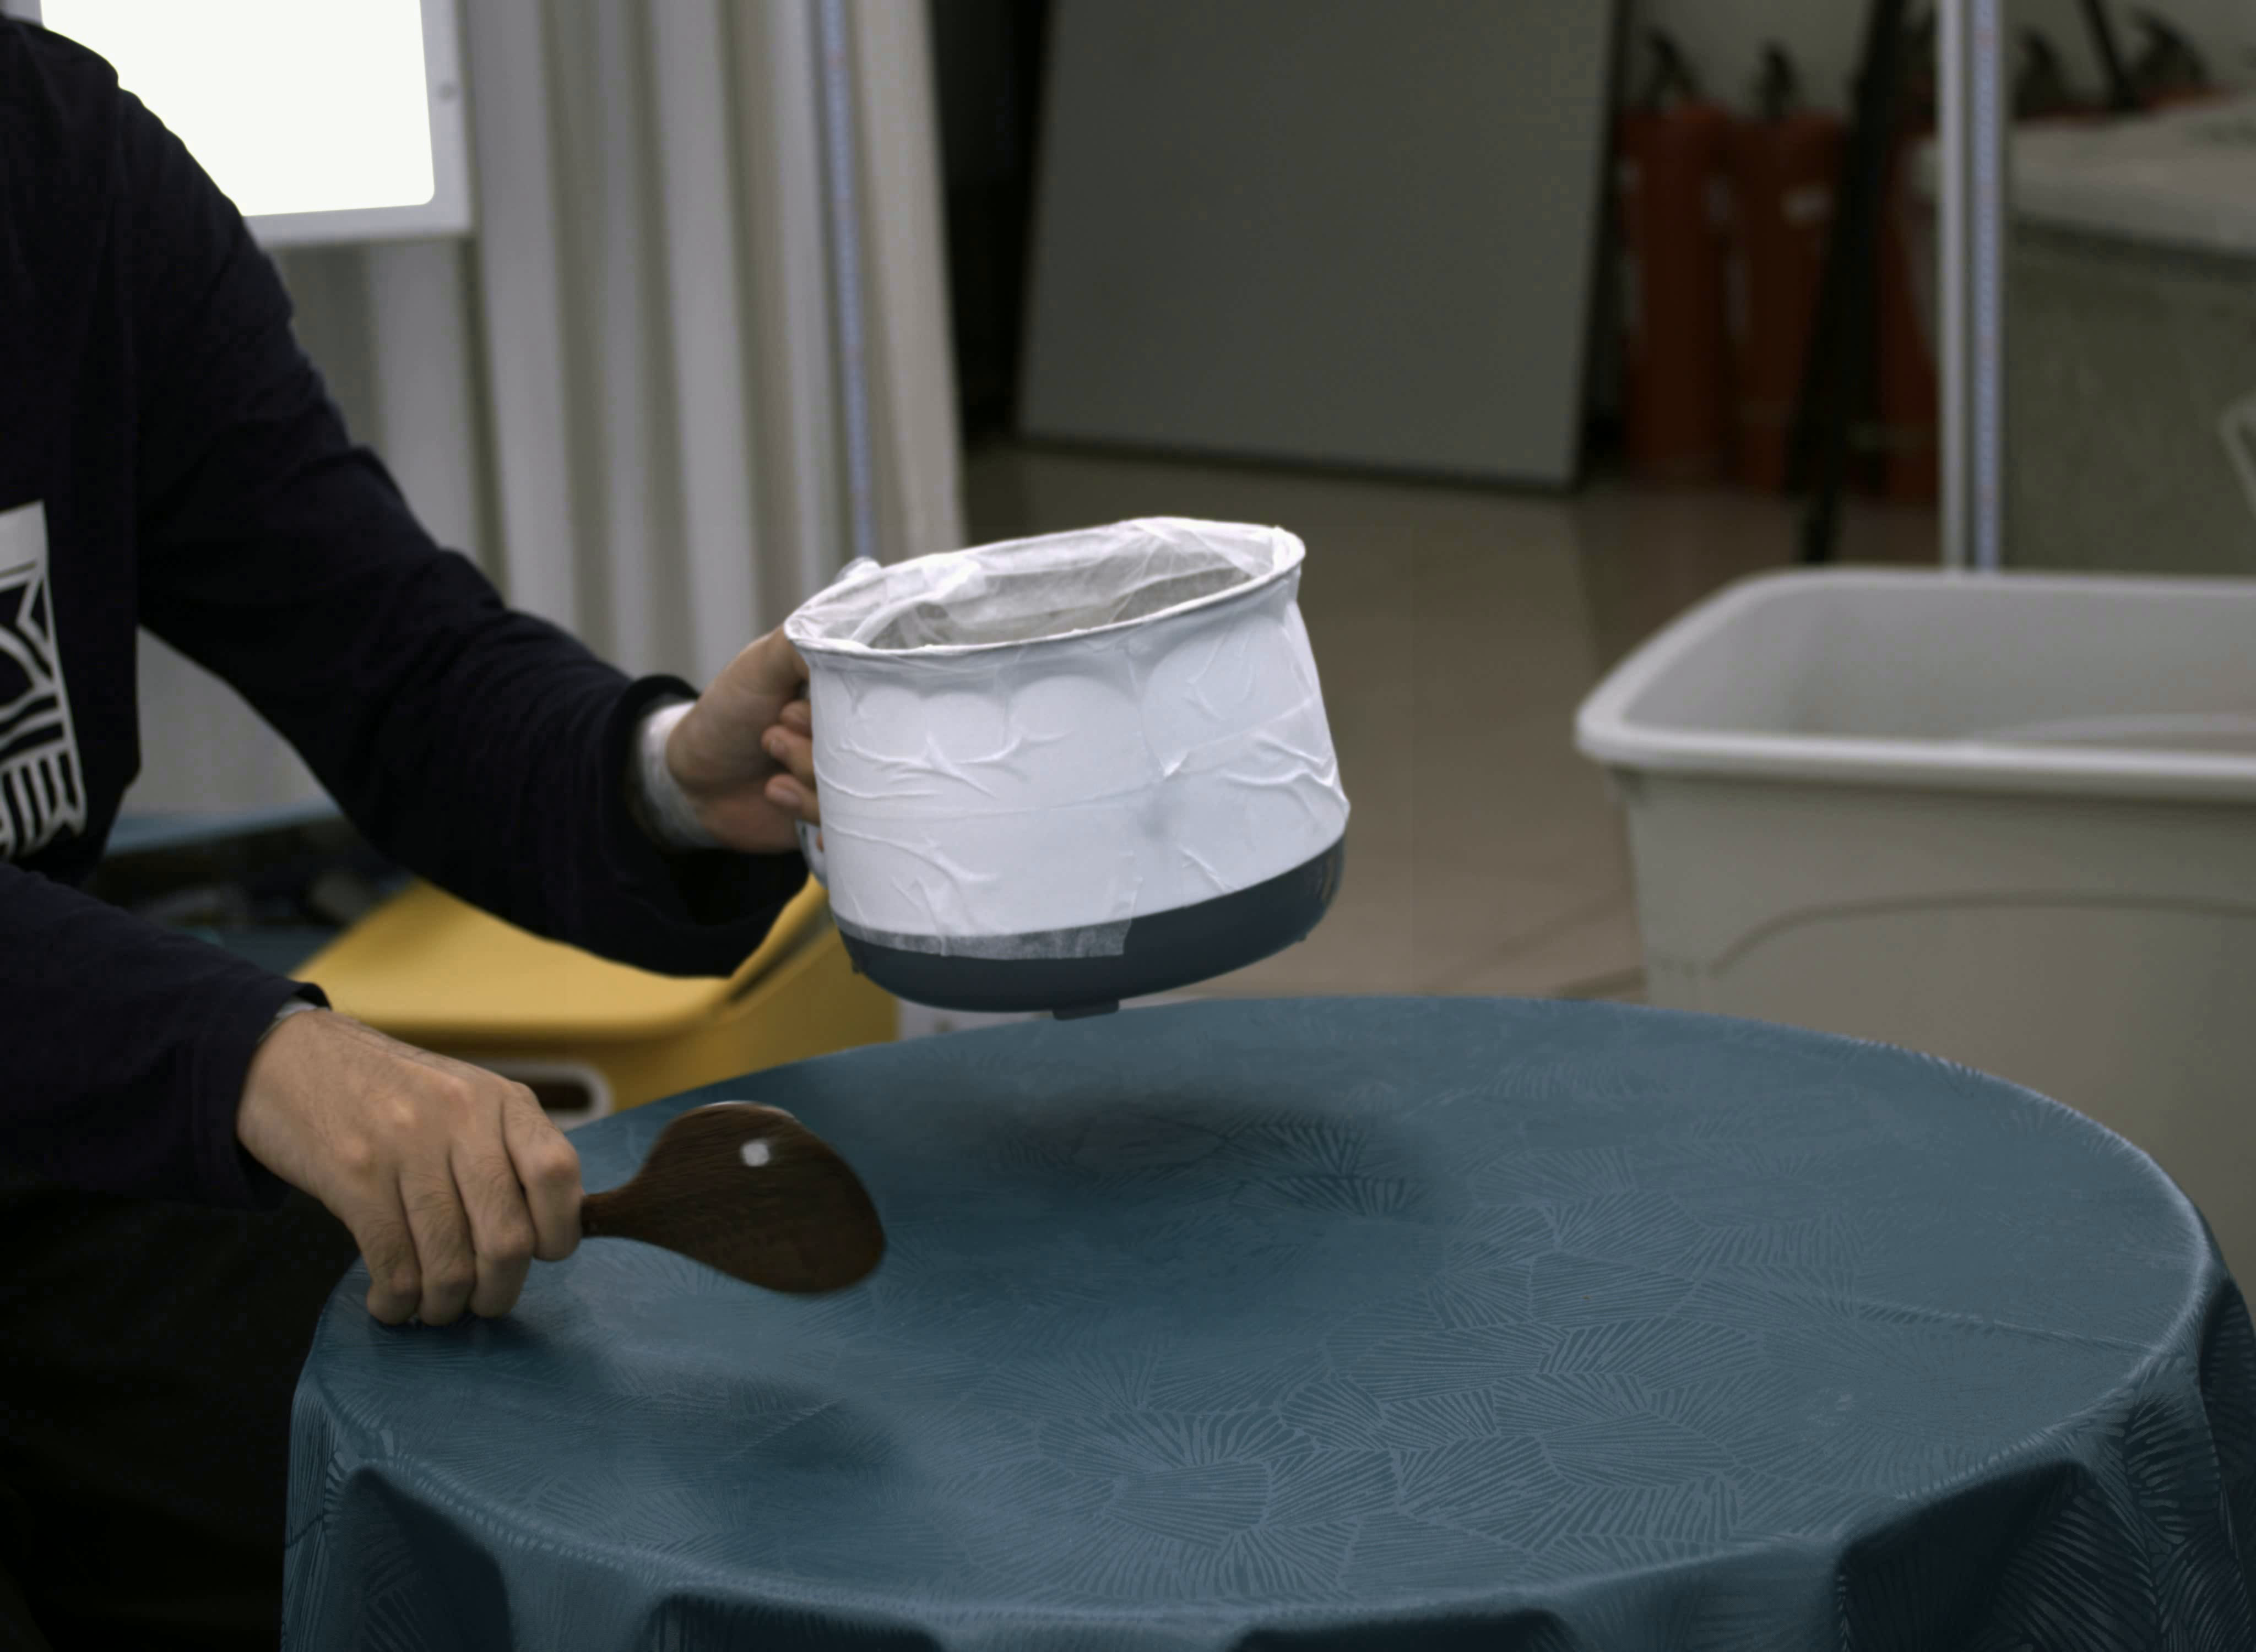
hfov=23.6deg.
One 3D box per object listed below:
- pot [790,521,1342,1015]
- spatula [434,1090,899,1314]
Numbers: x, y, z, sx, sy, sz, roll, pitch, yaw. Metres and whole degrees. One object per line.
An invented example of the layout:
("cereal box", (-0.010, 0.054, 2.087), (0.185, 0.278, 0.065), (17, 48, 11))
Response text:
("pot", (-0.037, -0.023, 1.827), (0.175, 0.138, 0.236), (-17, 15, -39))
("spatula", (-0.147, 0.118, 1.652), (0.218, 0.072, 0.009), (-8, 16, 46))
